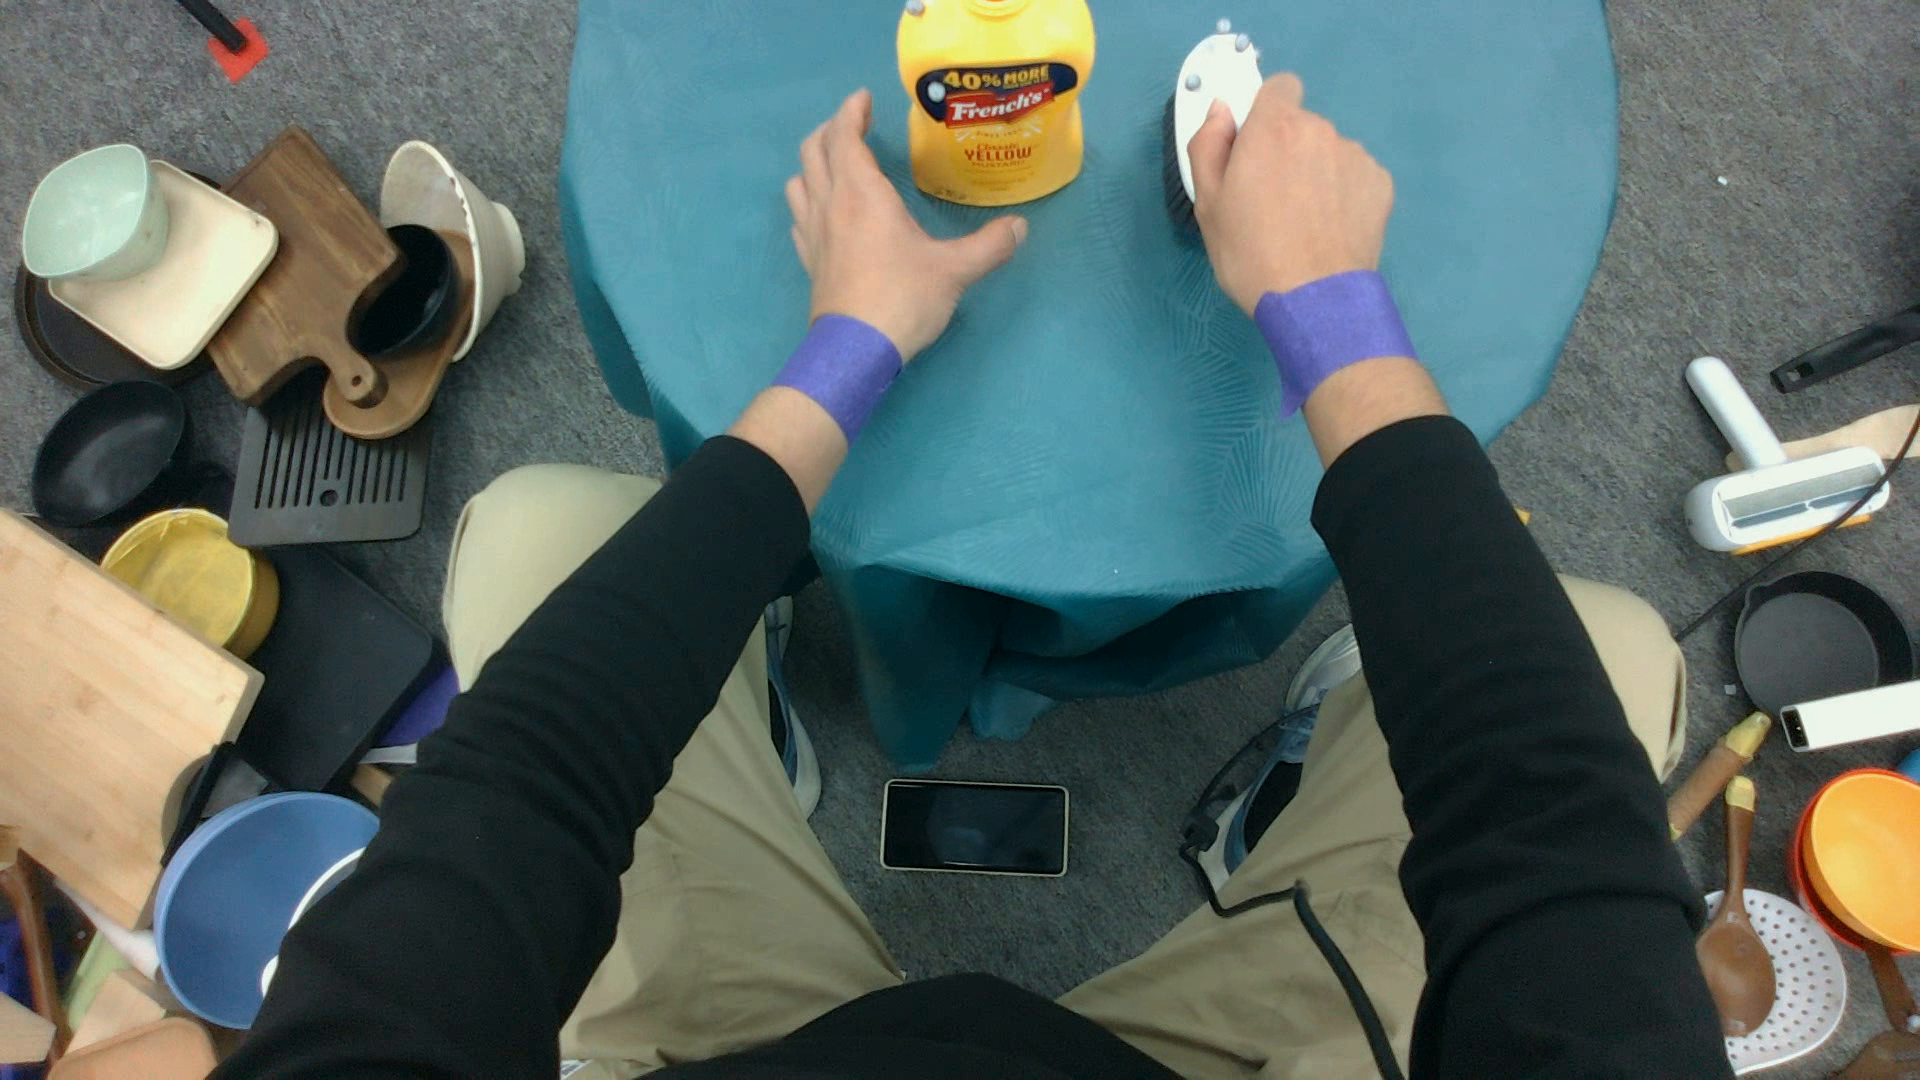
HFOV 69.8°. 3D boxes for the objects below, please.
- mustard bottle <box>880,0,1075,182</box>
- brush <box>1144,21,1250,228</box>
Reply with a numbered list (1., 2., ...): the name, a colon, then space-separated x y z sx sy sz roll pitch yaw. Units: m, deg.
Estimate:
1. mustard bottle: 0.010 -0.242 0.699 0.098 0.171 0.059 -8 82 -2
2. brush: 0.130 -0.226 0.728 0.050 0.072 0.099 4 74 -6
